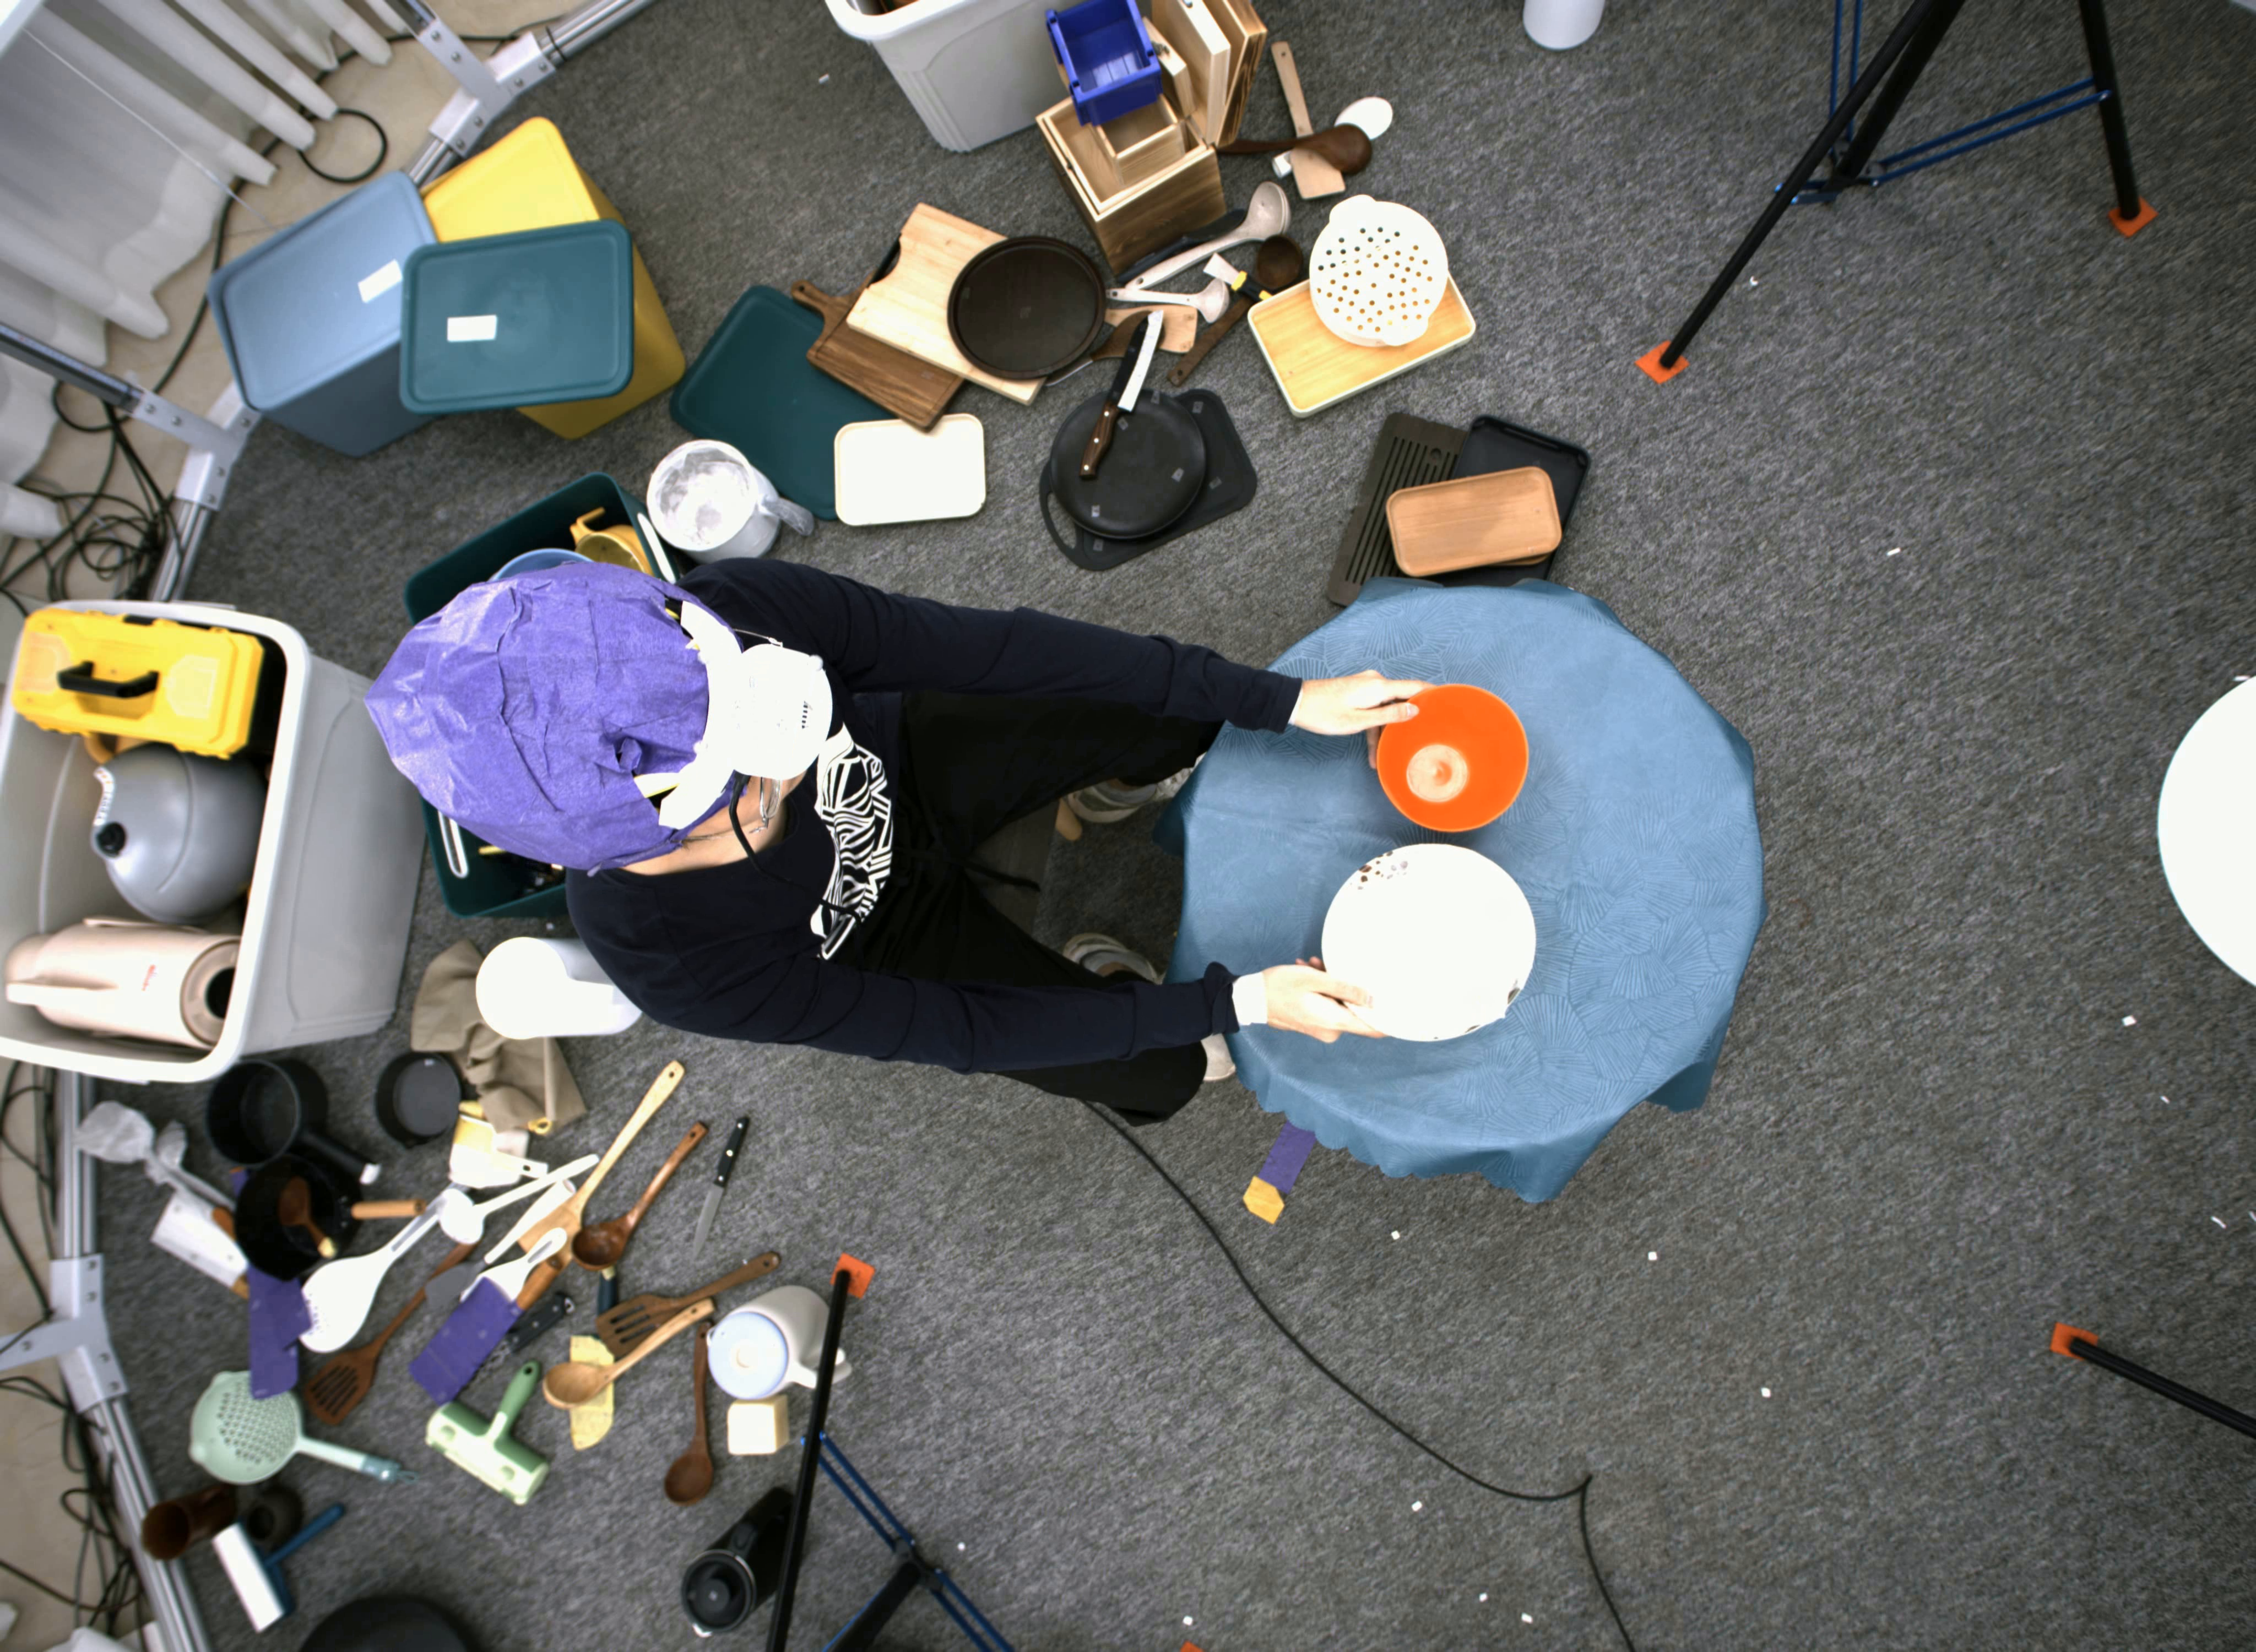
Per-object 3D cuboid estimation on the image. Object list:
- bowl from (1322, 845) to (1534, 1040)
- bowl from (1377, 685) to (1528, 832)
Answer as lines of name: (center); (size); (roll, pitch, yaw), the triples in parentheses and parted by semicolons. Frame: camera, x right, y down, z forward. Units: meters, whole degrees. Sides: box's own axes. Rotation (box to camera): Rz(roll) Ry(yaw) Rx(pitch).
bowl: (0.299, 0.124, 1.366); (0.205, 0.079, 0.199); (-8, 63, 16)
bowl: (0.331, -0.065, 1.406); (0.148, 0.104, 0.147); (-1, 86, 12)
